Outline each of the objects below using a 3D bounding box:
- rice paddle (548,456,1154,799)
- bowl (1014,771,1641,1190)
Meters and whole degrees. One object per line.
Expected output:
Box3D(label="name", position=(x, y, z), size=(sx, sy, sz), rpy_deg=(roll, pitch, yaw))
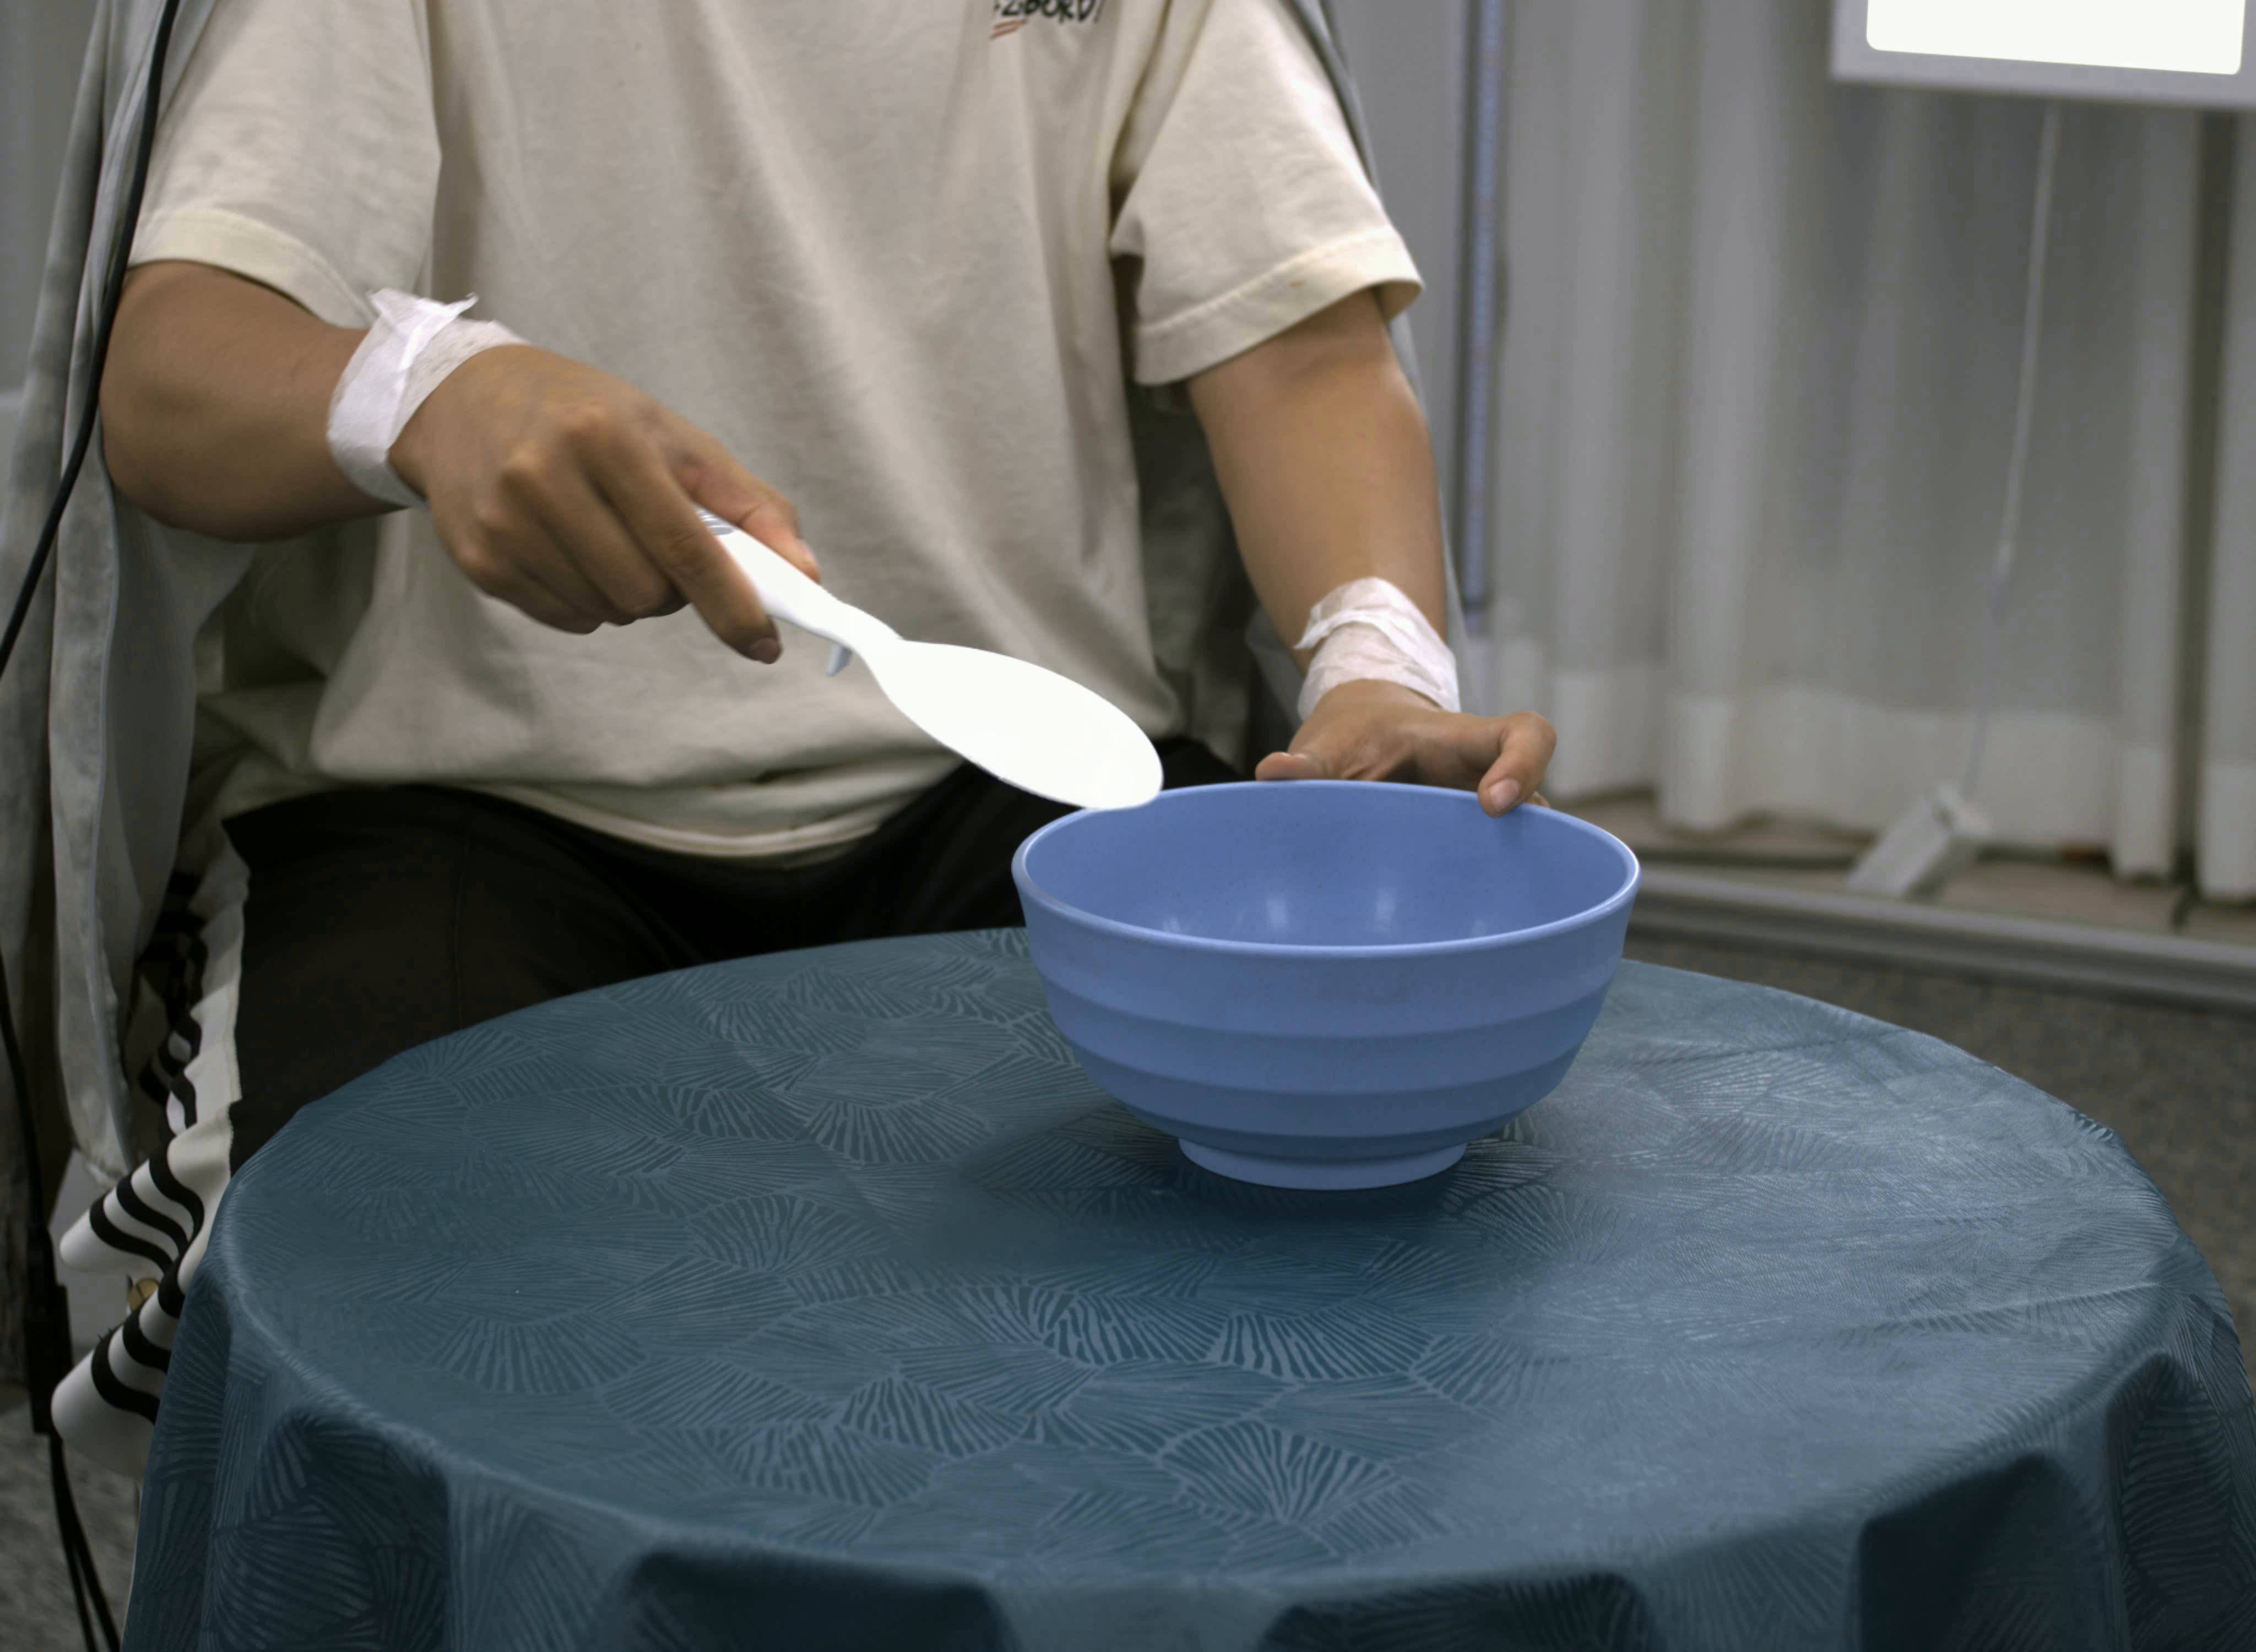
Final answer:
Box3D(label="rice paddle", position=(-0.083, -0.059, 1.613), size=(0.204, 0.029, 0.069), rpy_deg=(26, 33, 11))
Box3D(label="bowl", position=(0.062, 0.054, 1.657), size=(0.196, 0.096, 0.195), rpy_deg=(1, 17, 0))
